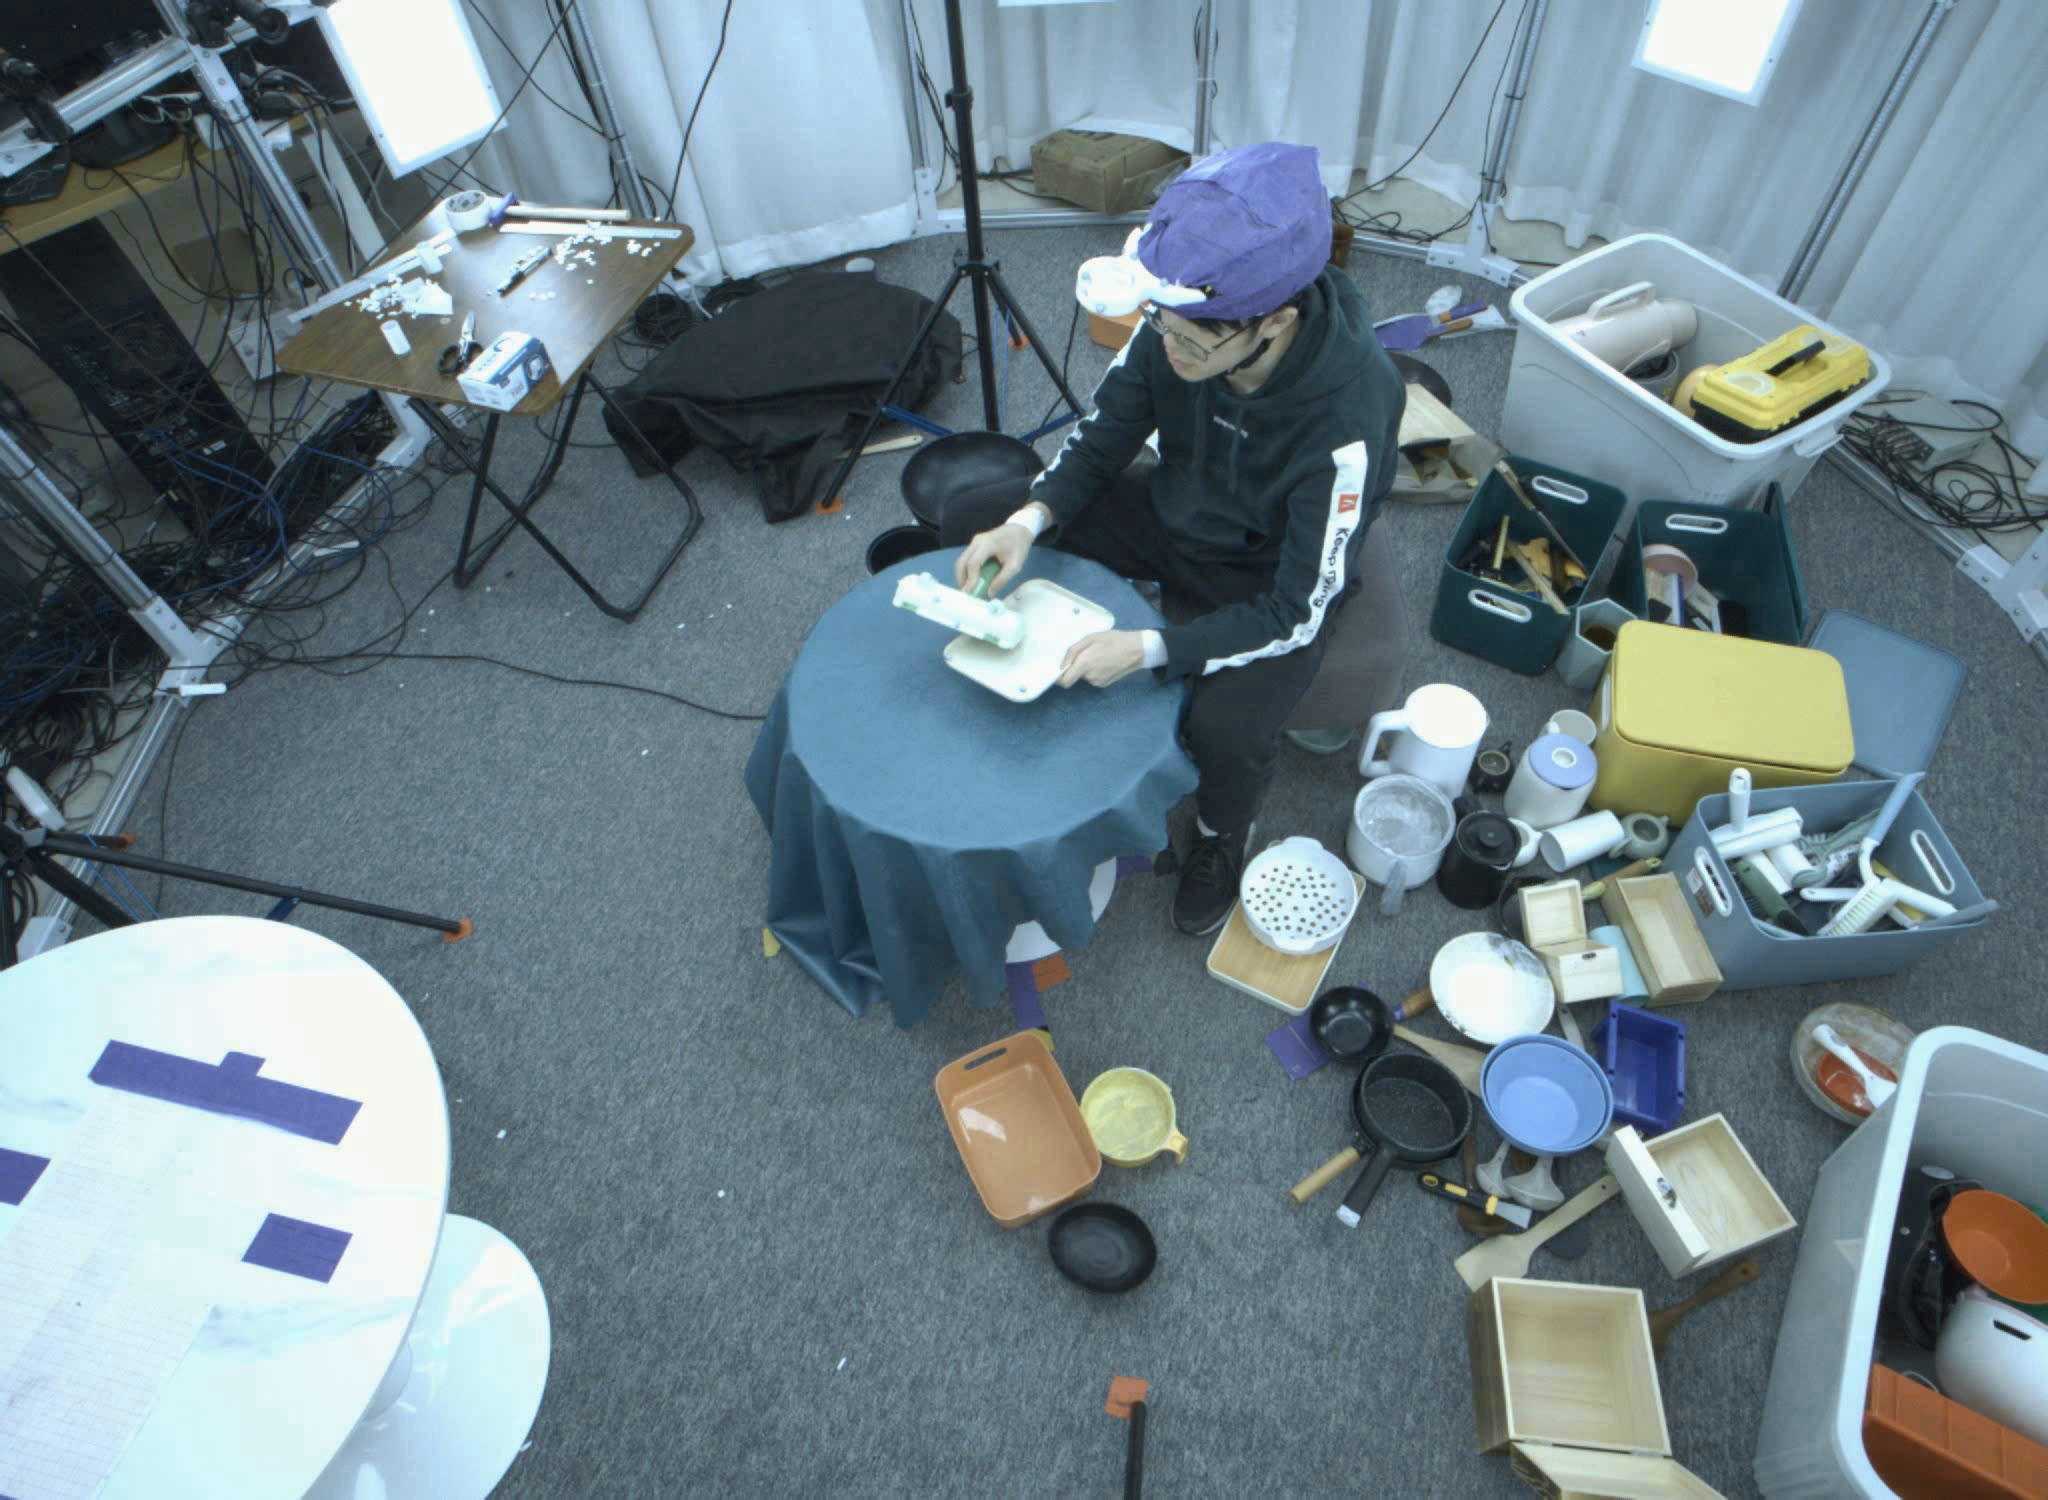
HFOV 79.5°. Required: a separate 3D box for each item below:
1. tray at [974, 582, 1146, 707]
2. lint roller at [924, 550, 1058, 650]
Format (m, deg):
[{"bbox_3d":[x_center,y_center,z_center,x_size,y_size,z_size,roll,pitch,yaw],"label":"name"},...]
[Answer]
[{"bbox_3d":[0.054,-0.157,1.818,0.168,0.017,0.241,32,54,23],"label":"tray"},{"bbox_3d":[-0.023,-0.248,1.820,0.196,0.083,0.183,24,64,14],"label":"lint roller"}]
